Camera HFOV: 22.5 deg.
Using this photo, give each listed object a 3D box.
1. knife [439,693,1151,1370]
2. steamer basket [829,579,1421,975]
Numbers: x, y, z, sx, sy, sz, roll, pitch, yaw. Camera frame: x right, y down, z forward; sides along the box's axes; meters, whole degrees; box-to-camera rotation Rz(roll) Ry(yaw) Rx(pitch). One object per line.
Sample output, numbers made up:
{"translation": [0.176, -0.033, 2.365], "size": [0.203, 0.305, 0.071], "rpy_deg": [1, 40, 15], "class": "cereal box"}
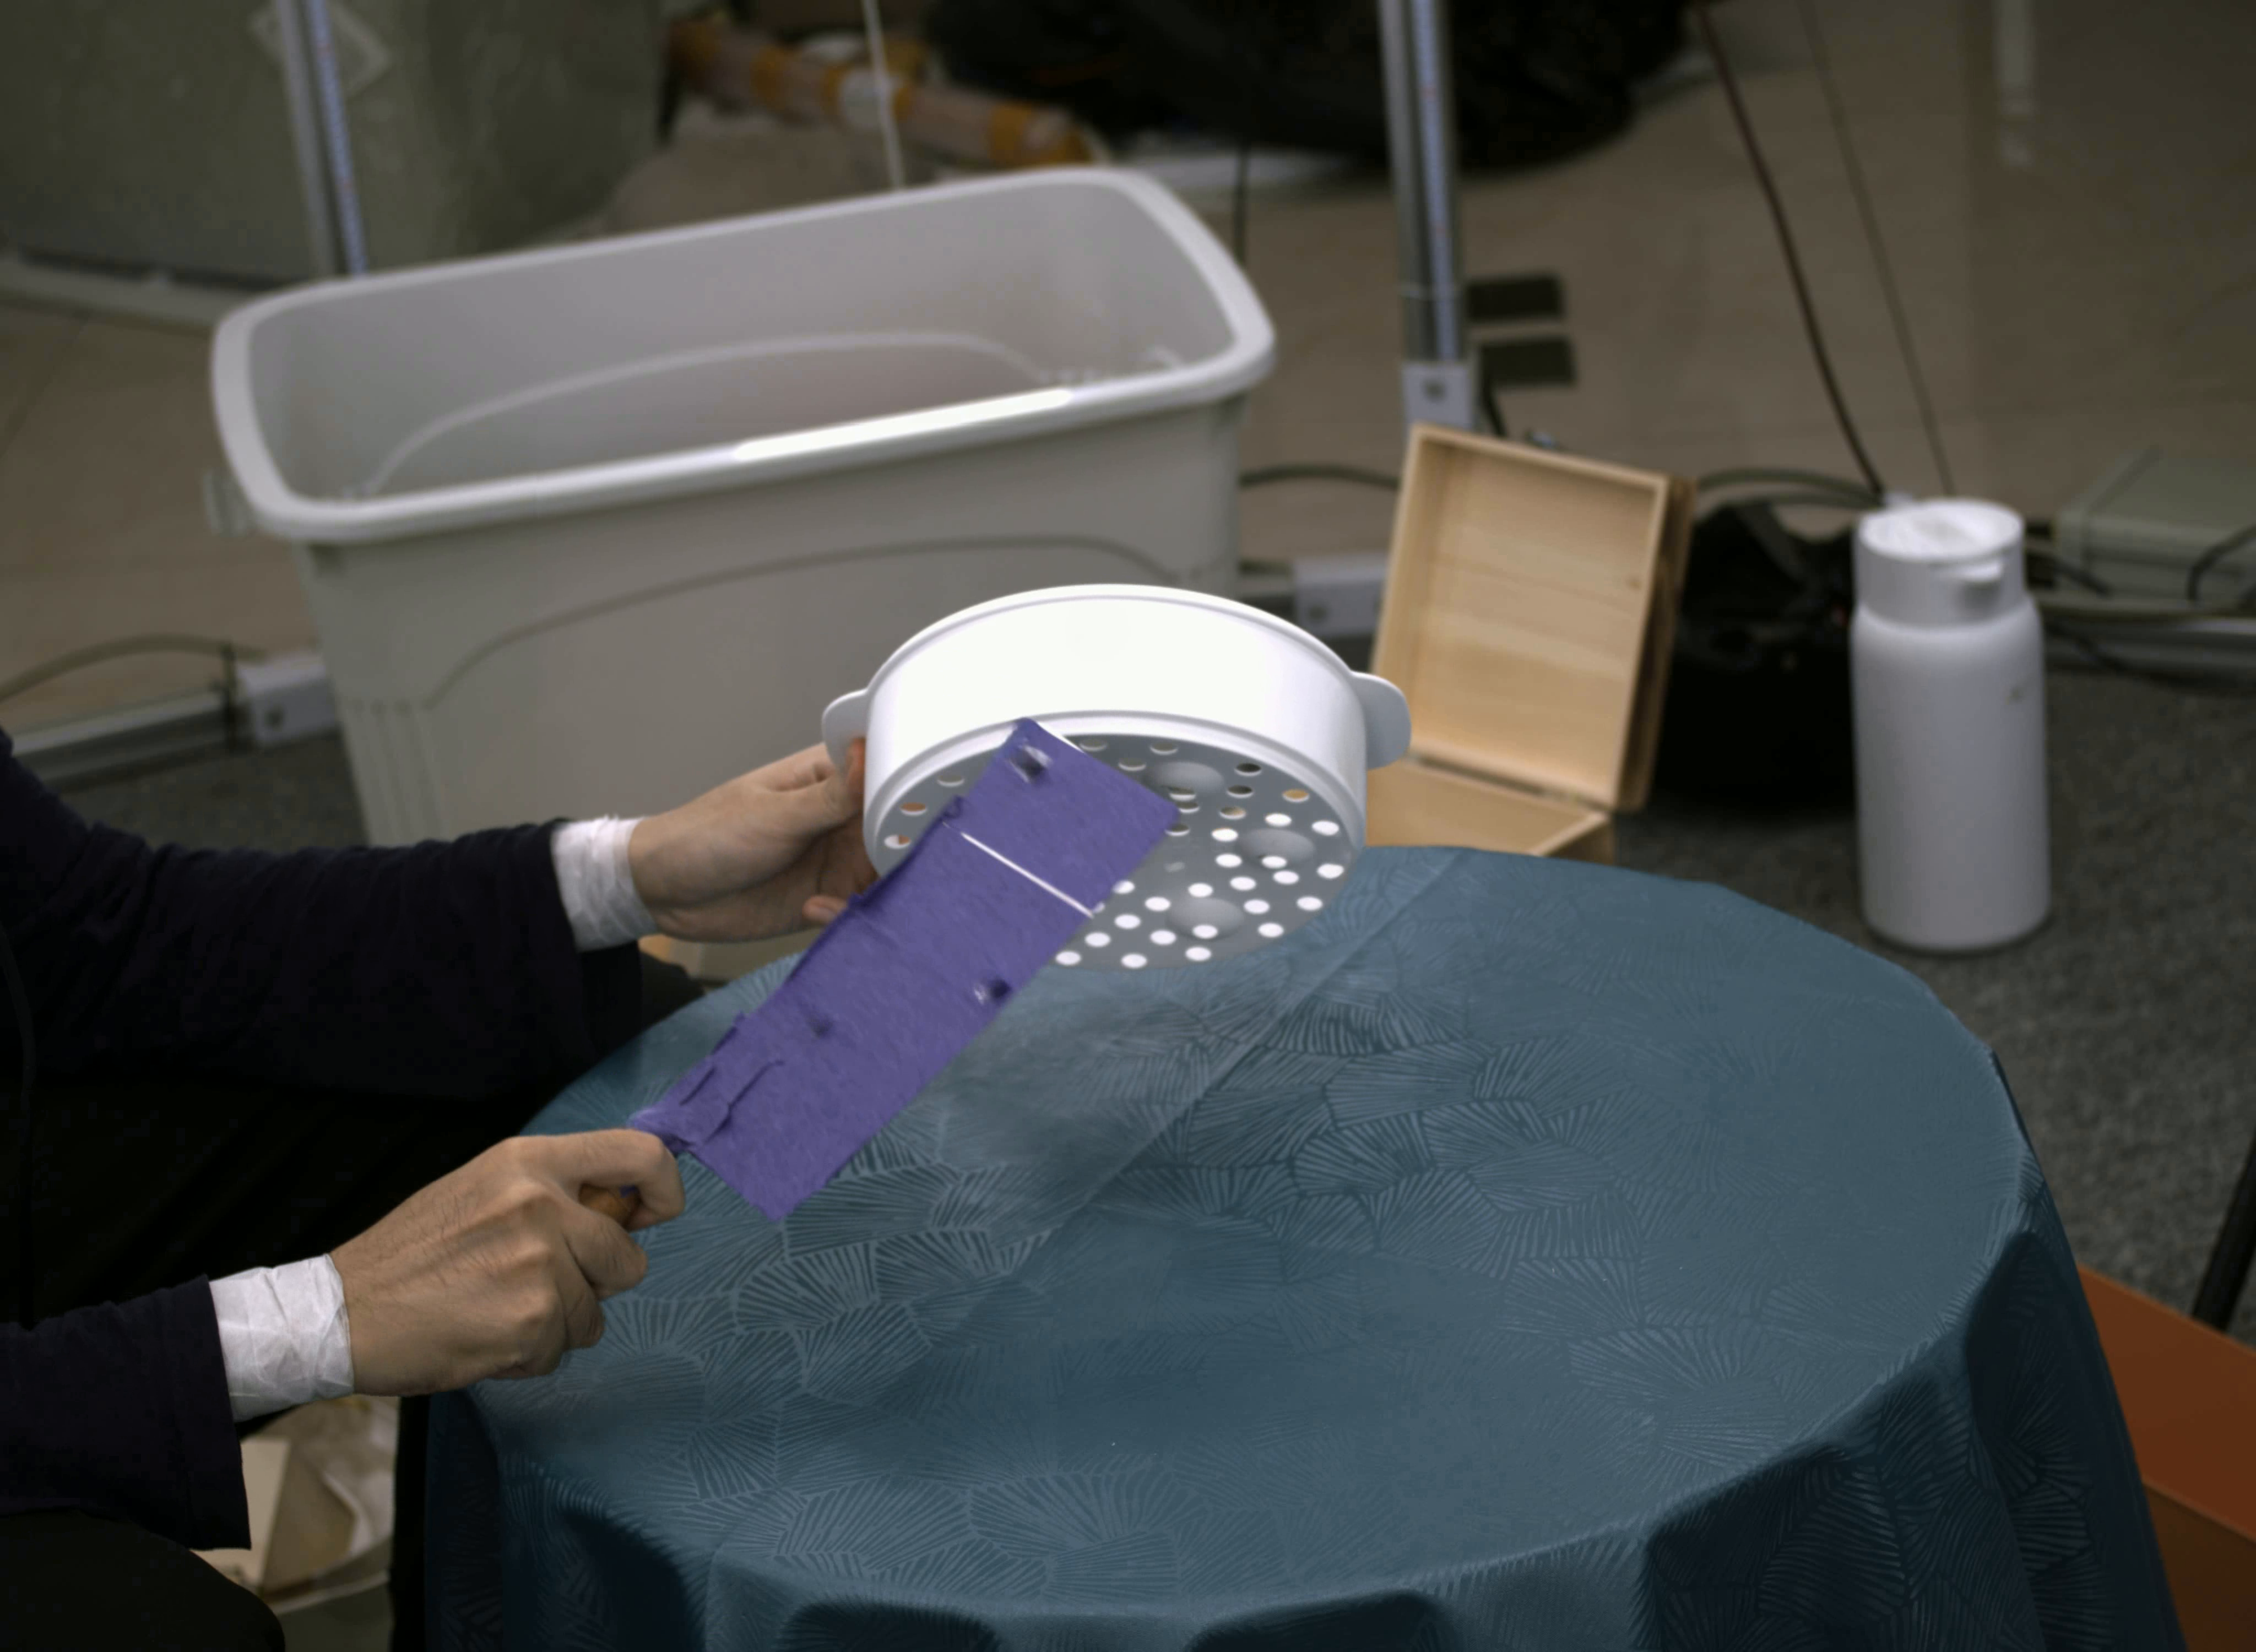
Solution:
{"translation": [-0.117, 0.080, 2.025], "size": [0.314, 0.032, 0.103], "rpy_deg": [-49, 43, -9], "class": "knife"}
{"translation": [-0.001, -0.013, 2.182], "size": [0.230, 0.205, 0.068], "rpy_deg": [-4, 59, 4], "class": "steamer basket"}
